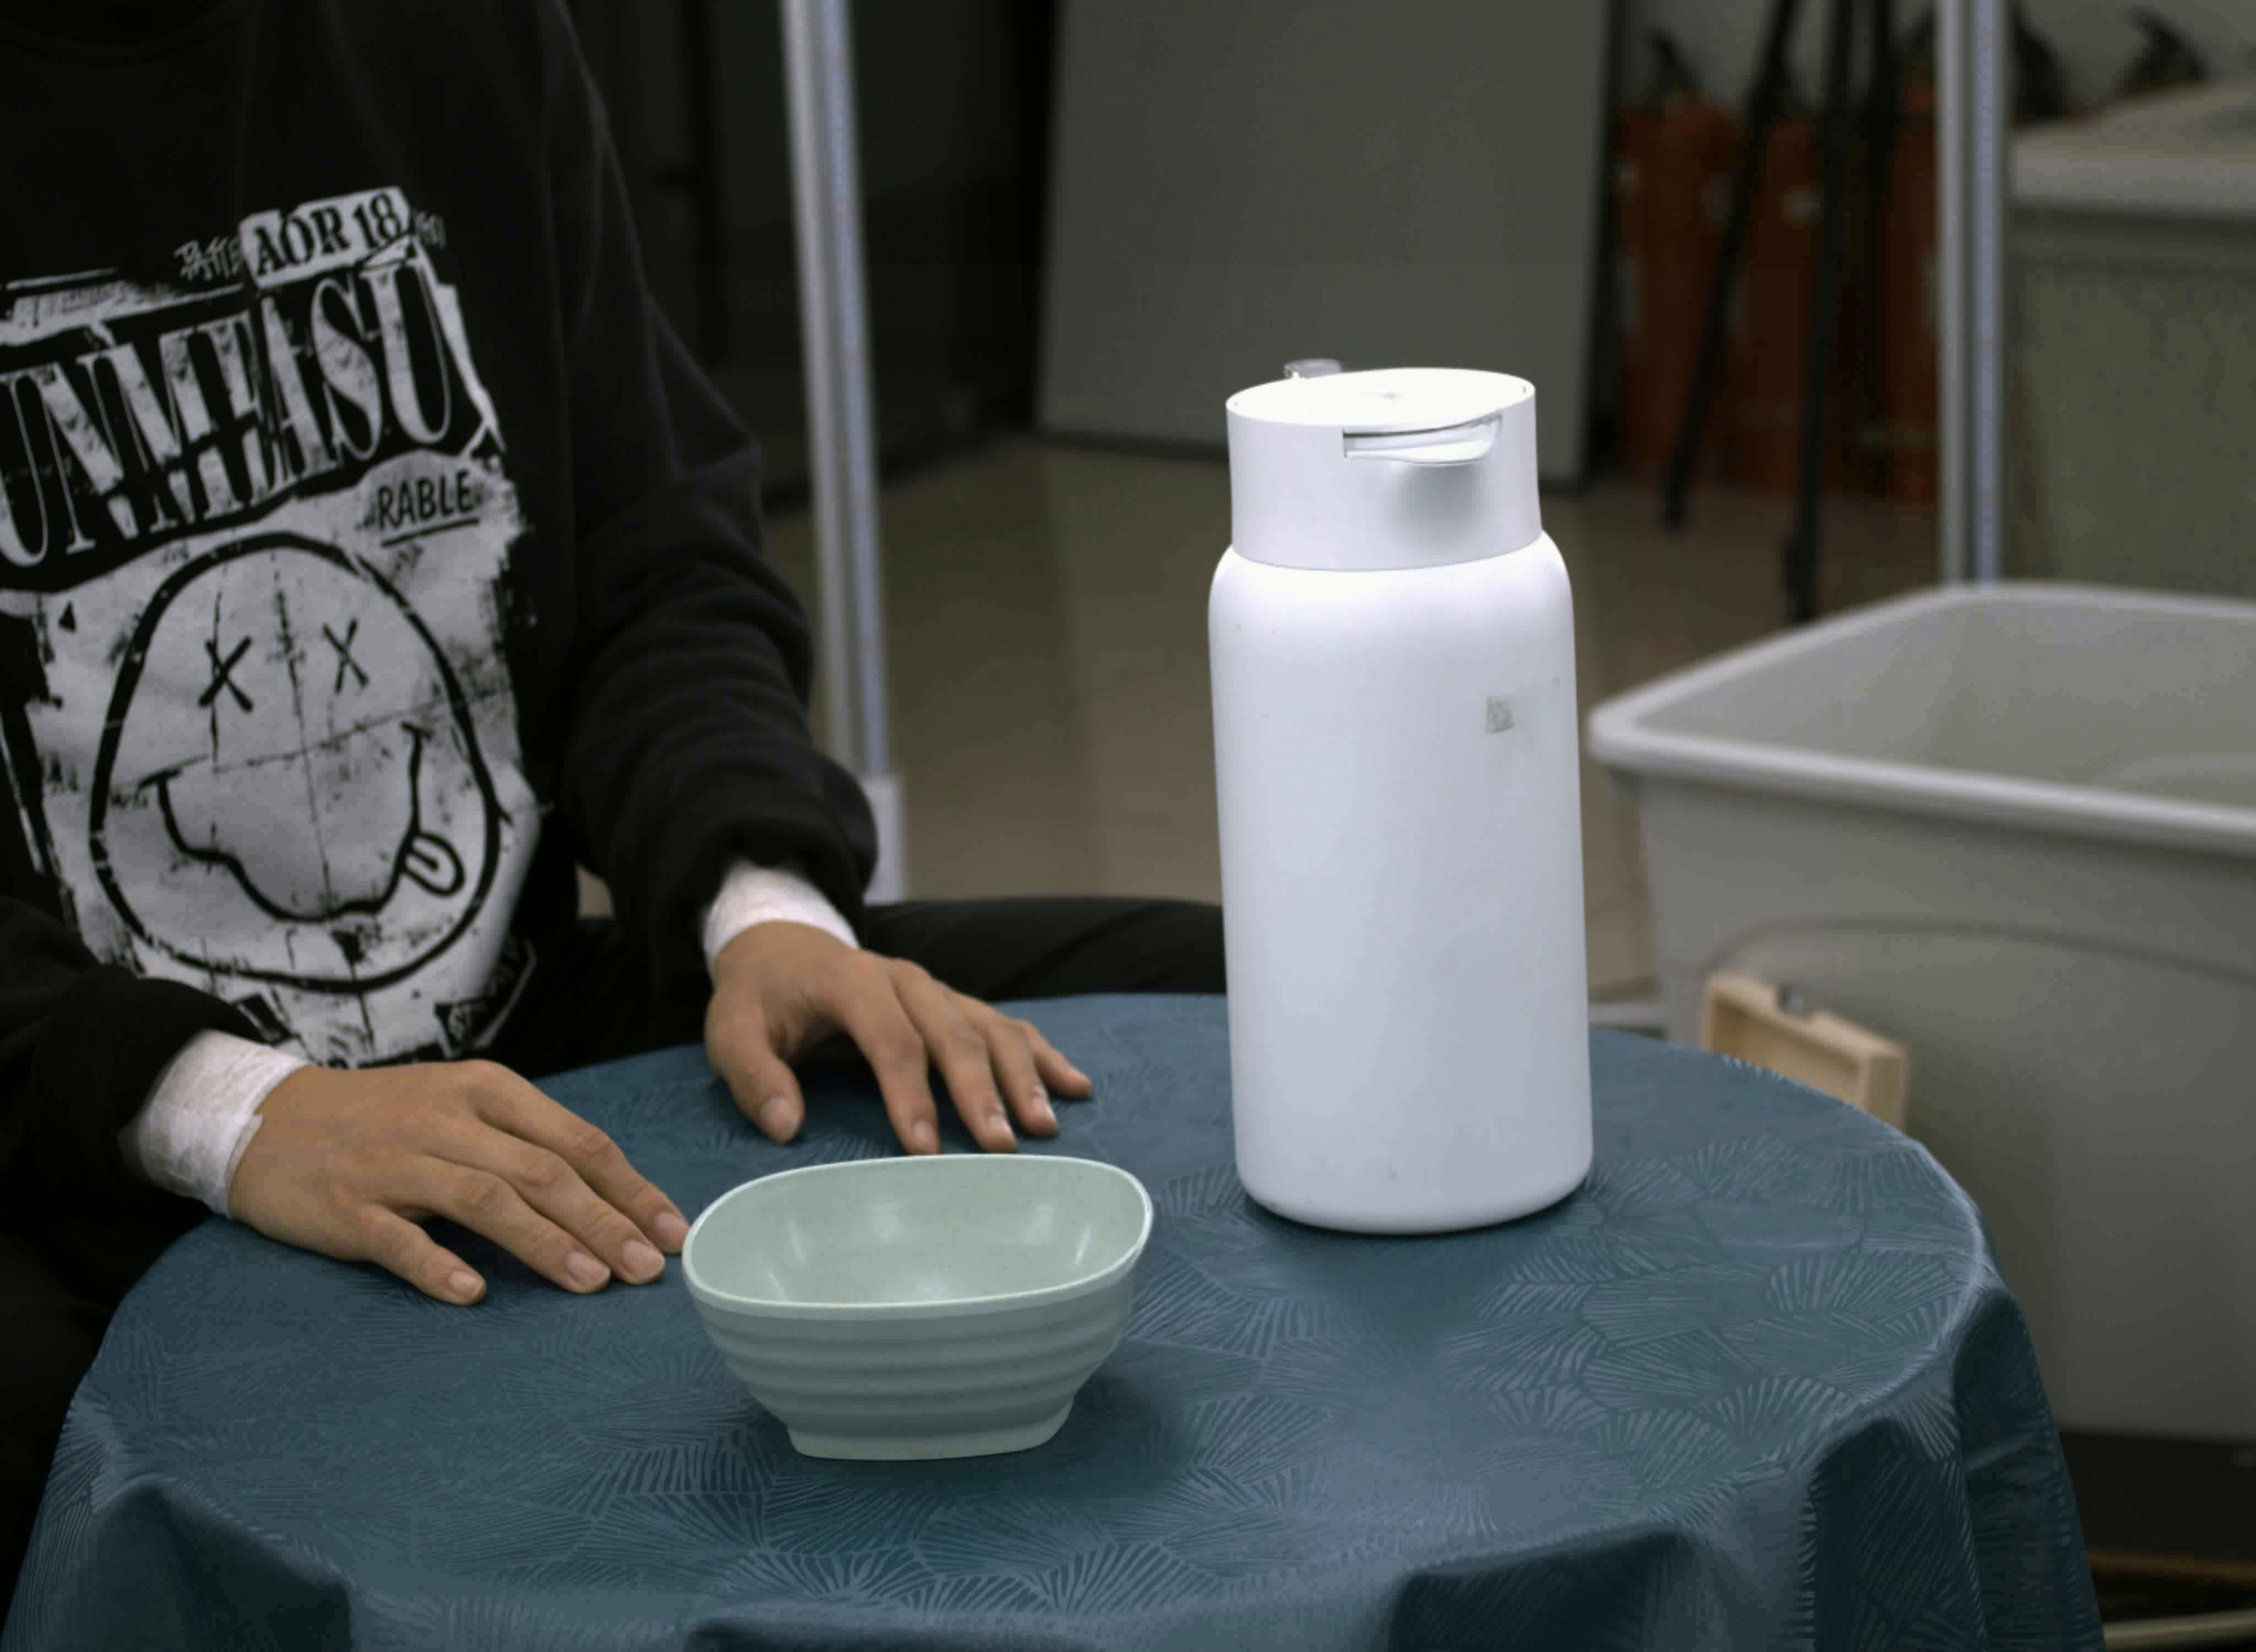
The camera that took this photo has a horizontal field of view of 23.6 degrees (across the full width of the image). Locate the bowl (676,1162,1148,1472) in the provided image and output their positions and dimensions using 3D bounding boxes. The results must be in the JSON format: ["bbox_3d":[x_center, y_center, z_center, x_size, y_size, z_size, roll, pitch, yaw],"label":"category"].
[{"bbox_3d":[-0.061,0.147,1.580,0.149,0.059,0.152,-4,14,0],"label":"bowl"}]

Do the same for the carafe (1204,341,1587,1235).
[{"bbox_3d":[0.079,-0.016,1.742,0.121,0.272,0.174,-10,15,-15],"label":"carafe"}]
